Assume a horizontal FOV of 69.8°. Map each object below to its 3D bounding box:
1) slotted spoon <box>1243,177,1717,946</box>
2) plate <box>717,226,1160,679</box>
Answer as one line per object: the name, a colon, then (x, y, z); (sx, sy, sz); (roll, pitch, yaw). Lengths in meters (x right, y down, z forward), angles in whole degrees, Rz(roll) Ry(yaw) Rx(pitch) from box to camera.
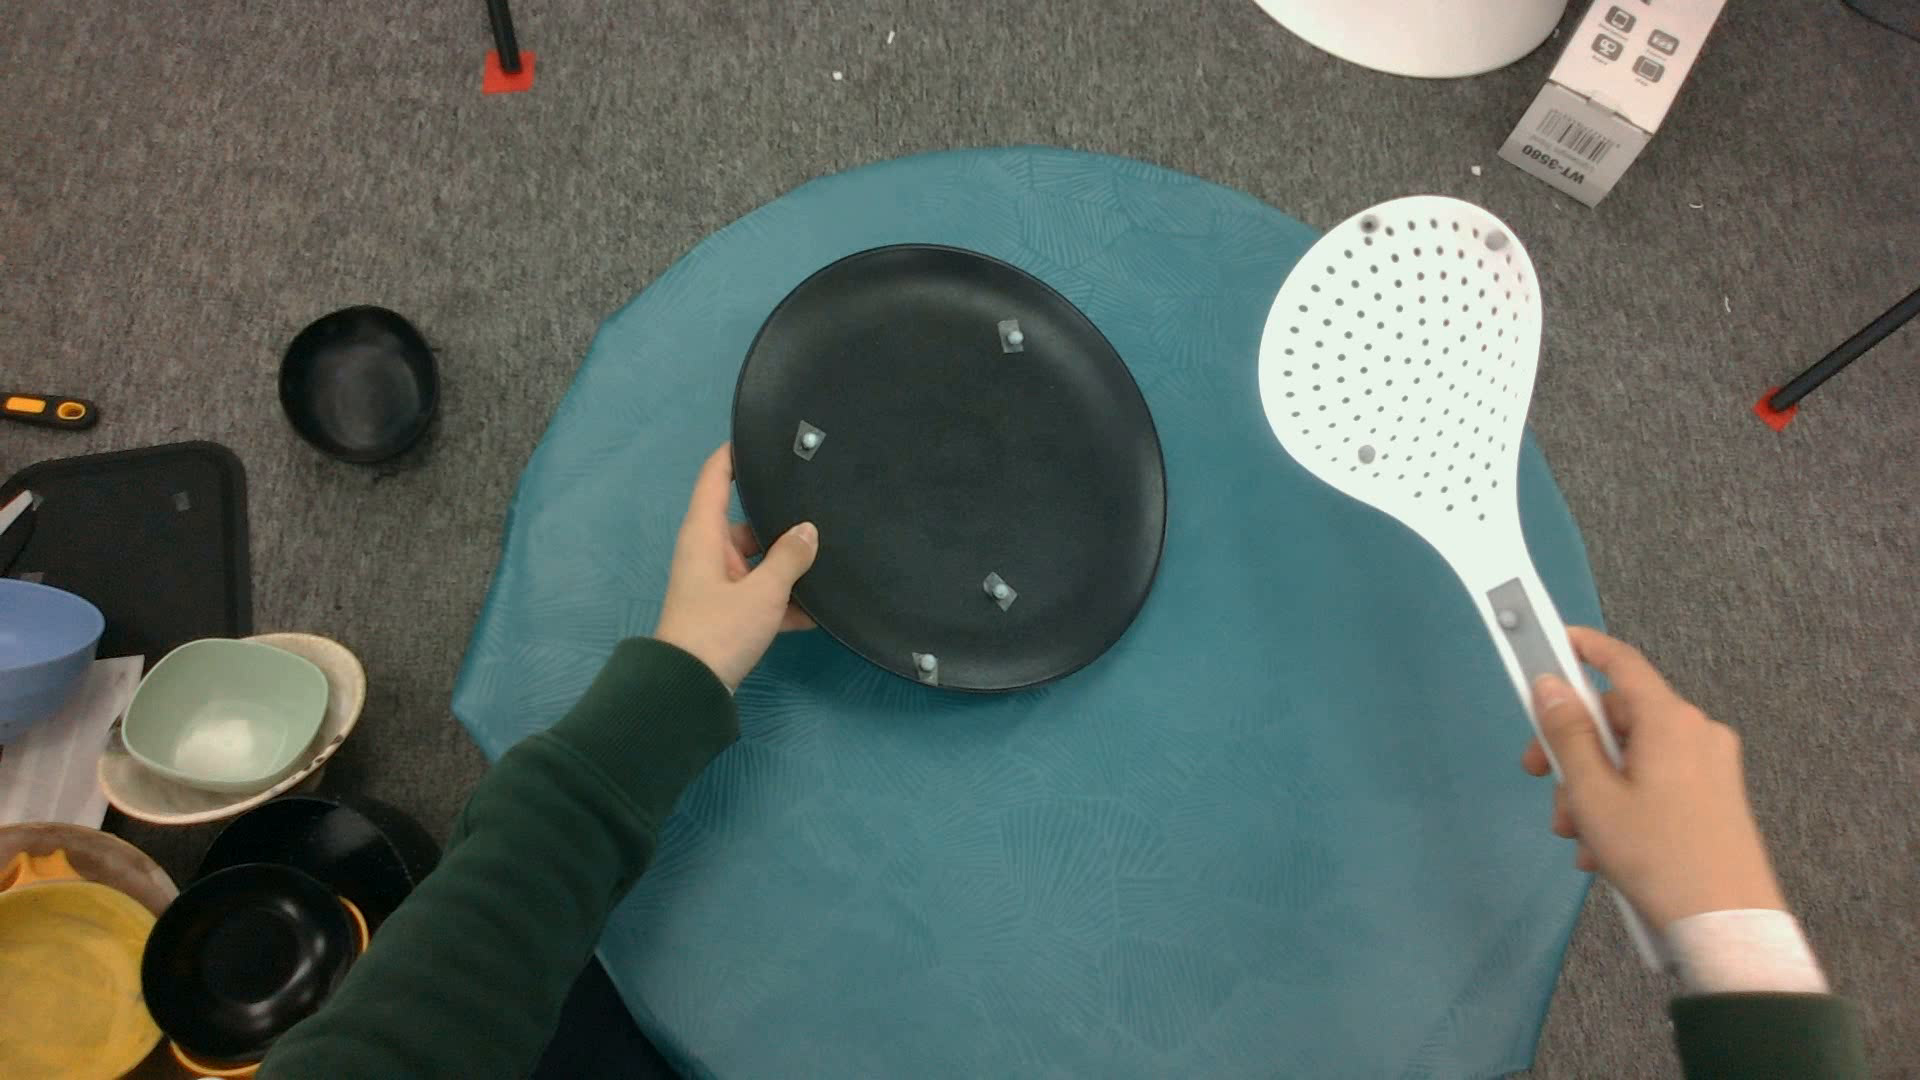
slotted spoon: (0.220, -0.003, 0.584); (0.046, 0.135, 0.351); (10, 52, -37)
plate: (-0.007, -0.047, 0.705); (0.245, 0.023, 0.245); (8, 70, -23)
